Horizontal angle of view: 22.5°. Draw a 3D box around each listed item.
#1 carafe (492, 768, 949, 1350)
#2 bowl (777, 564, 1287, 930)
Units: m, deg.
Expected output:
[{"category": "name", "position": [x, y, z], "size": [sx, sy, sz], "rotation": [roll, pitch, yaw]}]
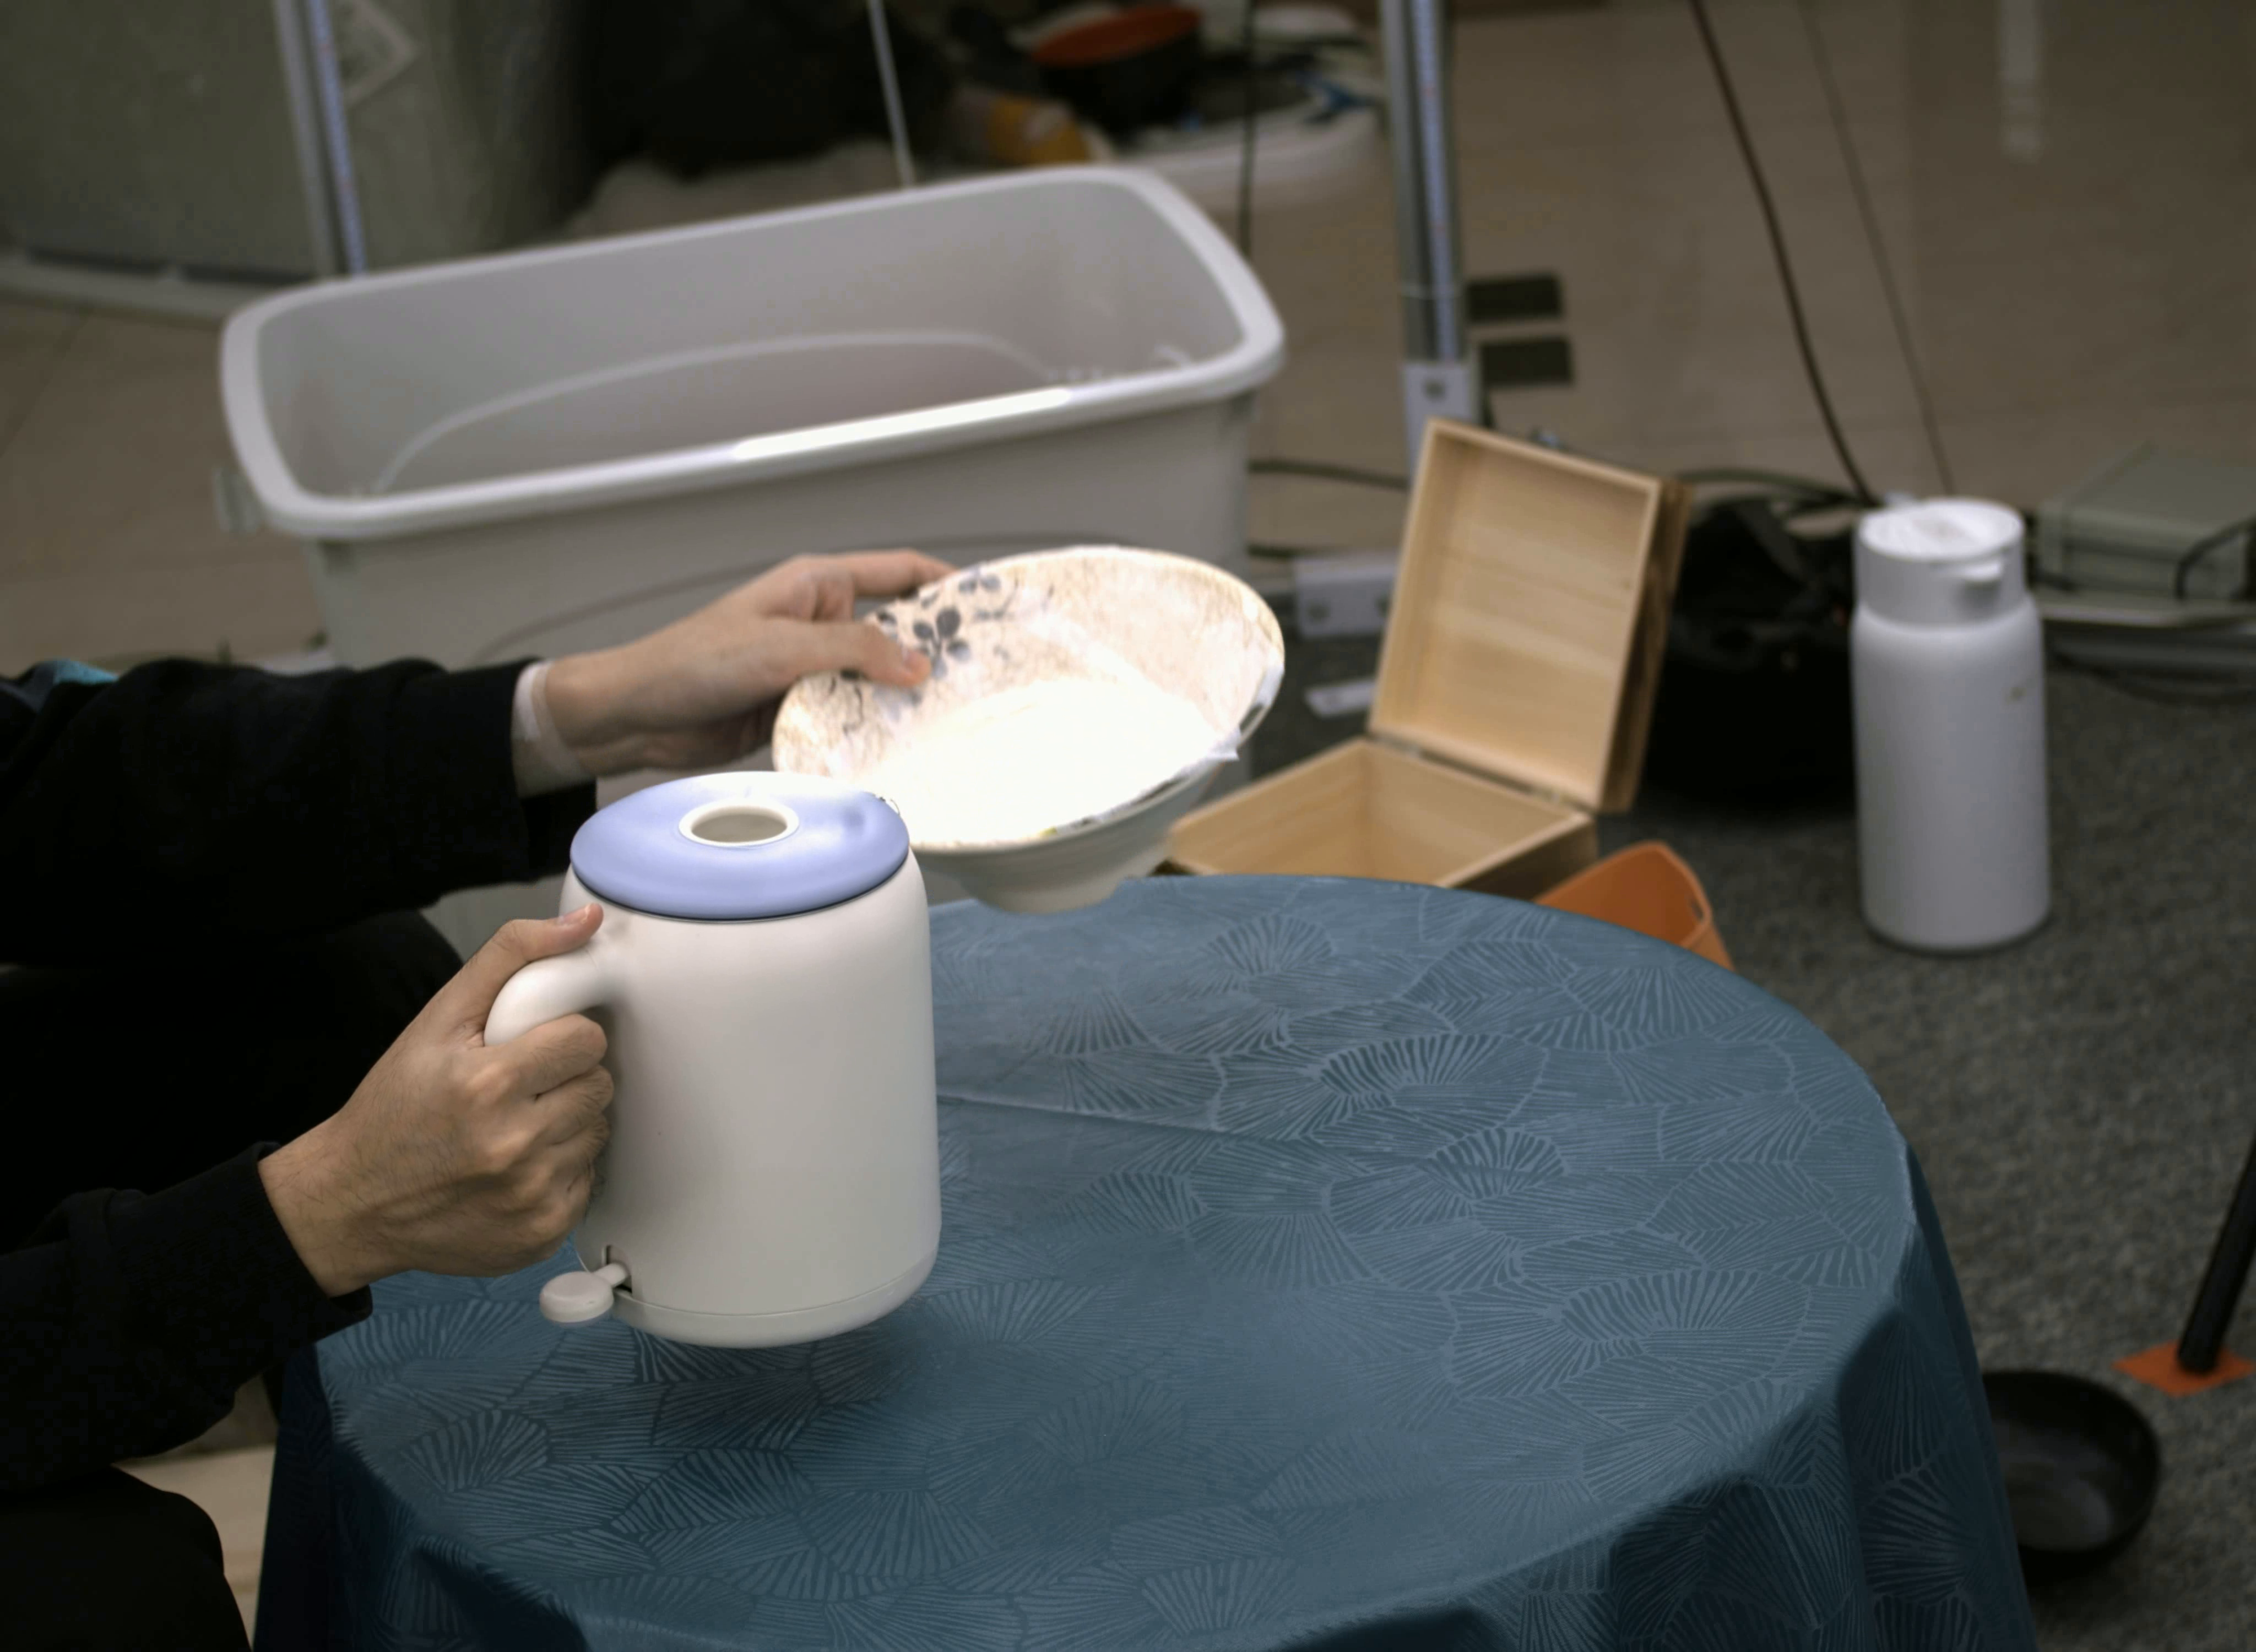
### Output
[{"category": "carafe", "position": [-0.150, 0.089, 1.987], "size": [0.131, 0.185, 0.189], "rotation": [20, 34, 41]}, {"category": "bowl", "position": [-0.028, -0.016, 2.197], "size": [0.204, 0.079, 0.200], "rotation": [-13, 32, 8]}]
